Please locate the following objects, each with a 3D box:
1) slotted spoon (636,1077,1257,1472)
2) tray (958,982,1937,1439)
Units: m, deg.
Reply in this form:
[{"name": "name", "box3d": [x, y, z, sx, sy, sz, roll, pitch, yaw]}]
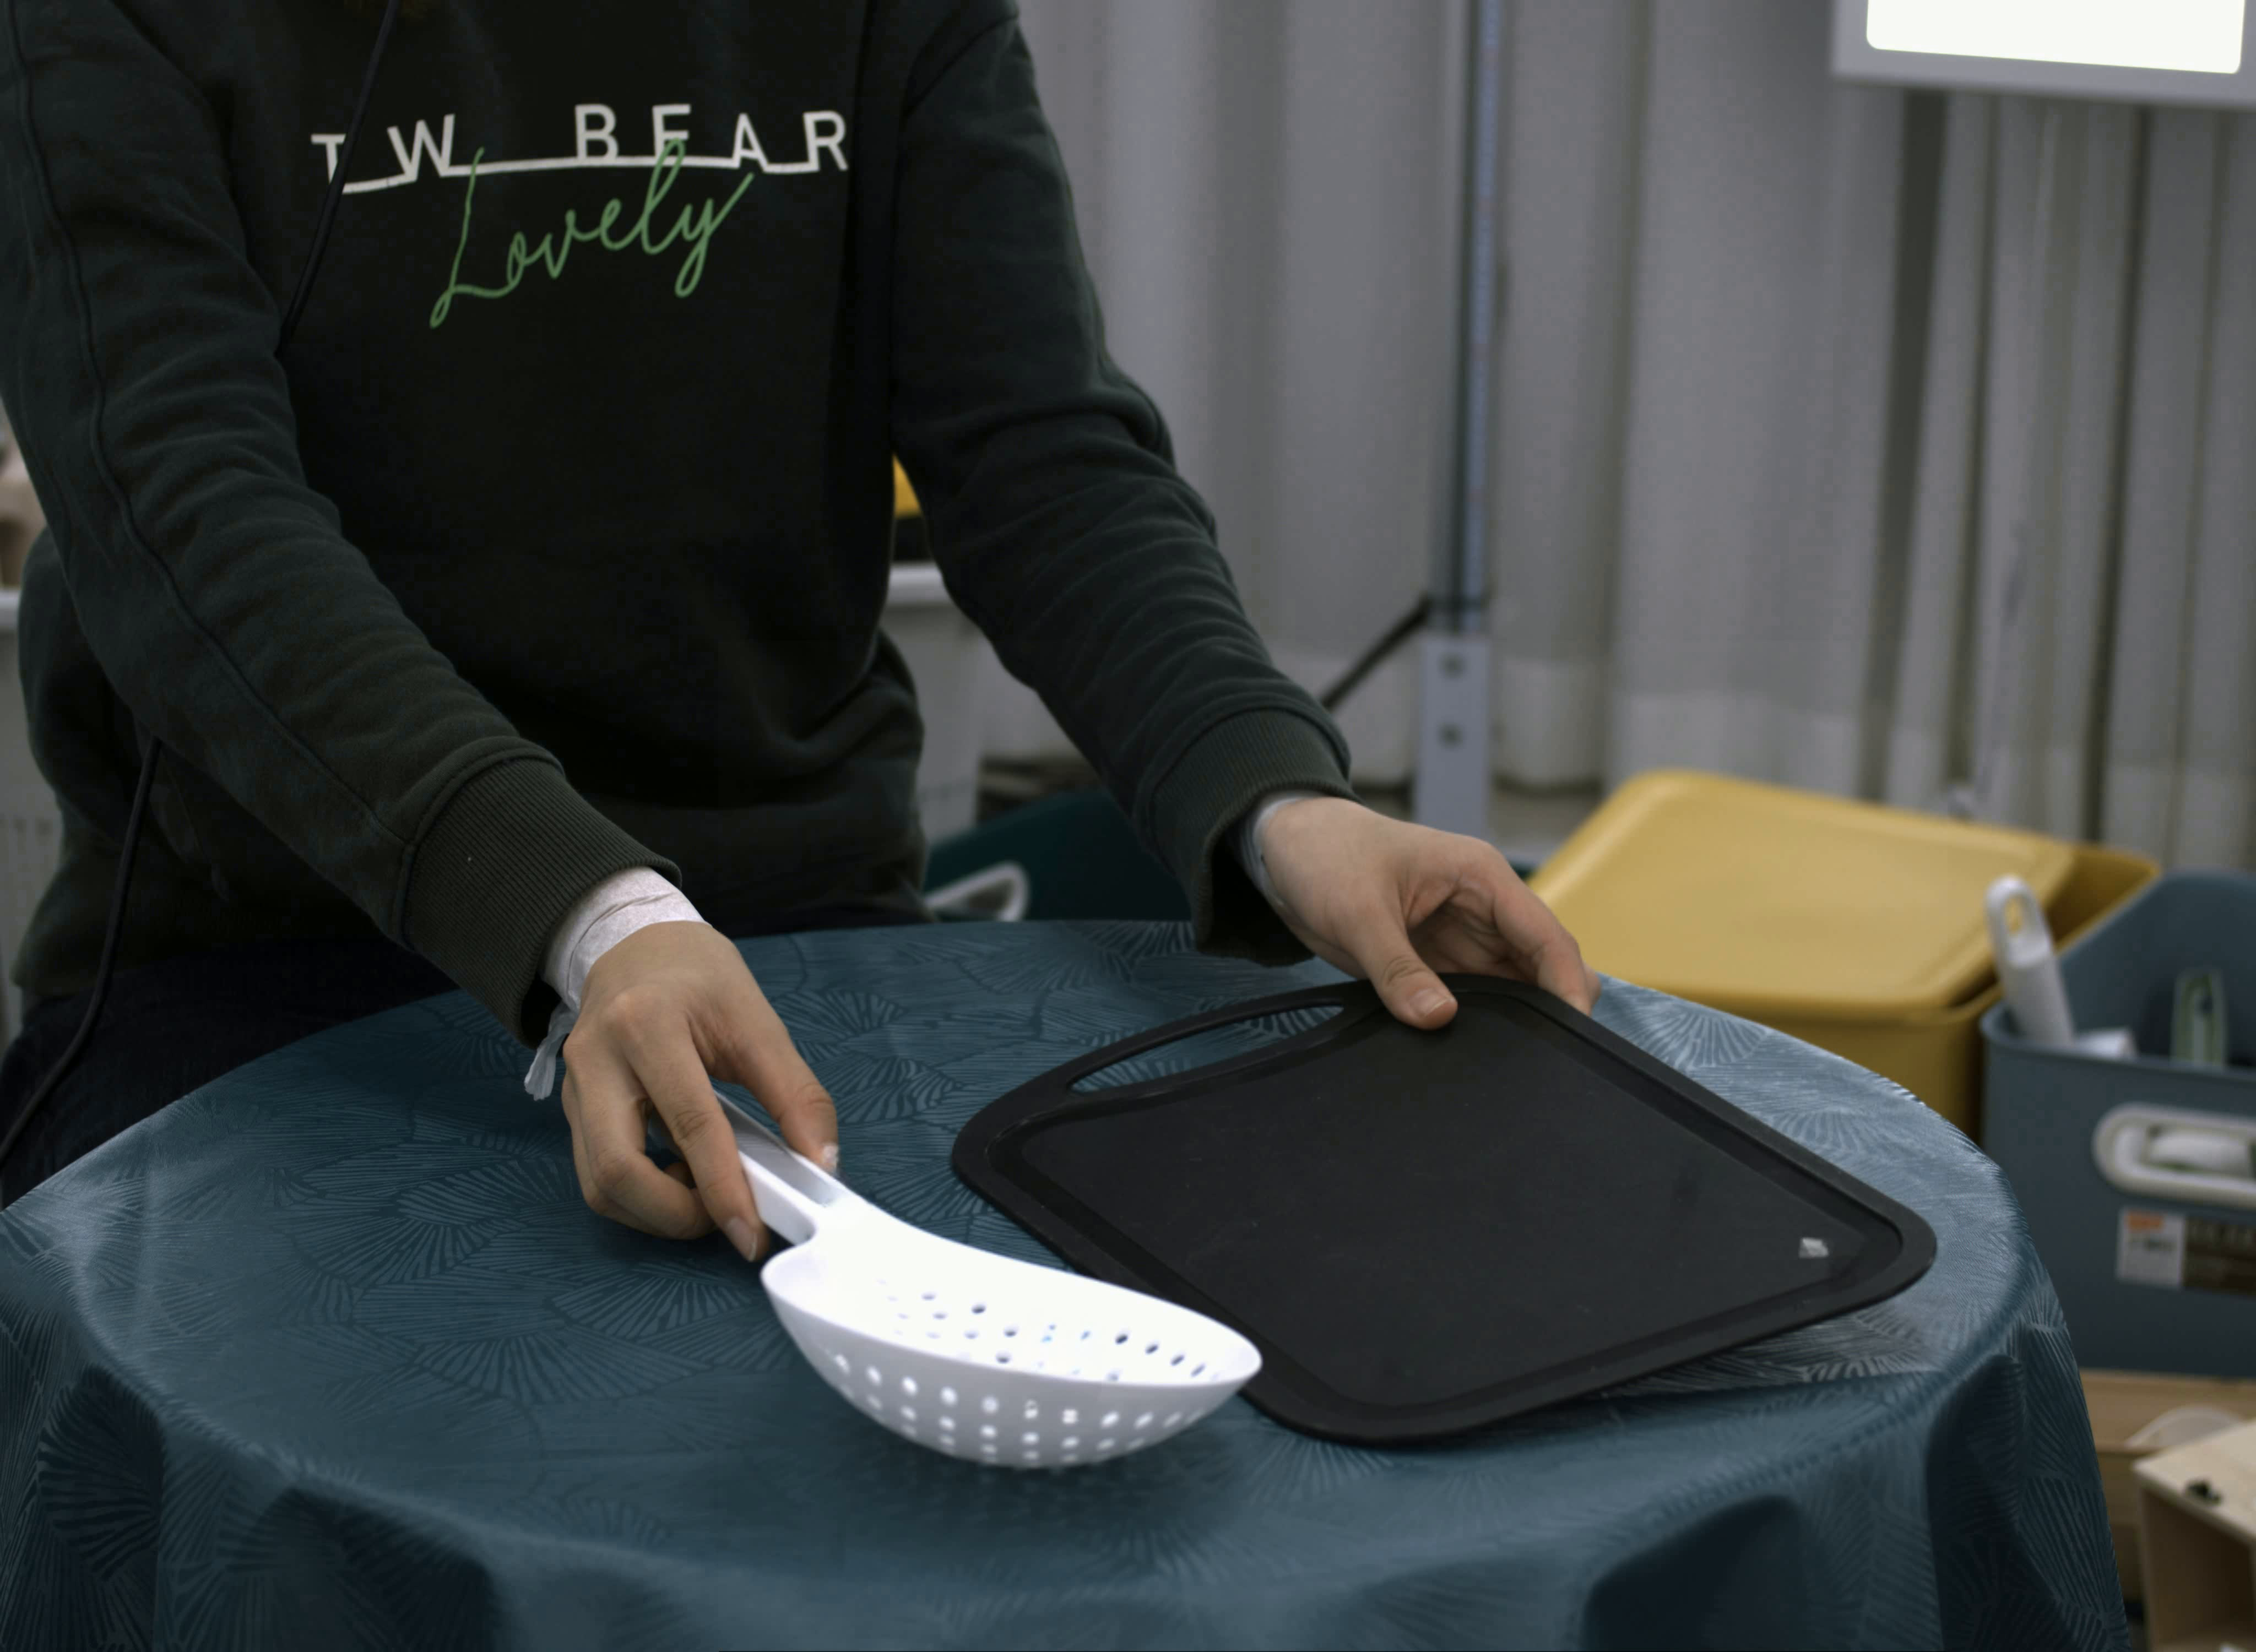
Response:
[{"name": "slotted spoon", "box3d": [-0.076, 0.119, 1.504, 0.137, 0.046, 0.345, 8, 12, -25]}, {"name": "tray", "box3d": [0.084, 0.106, 1.586, 0.211, 0.010, 0.321, -15, 21, -22]}]
